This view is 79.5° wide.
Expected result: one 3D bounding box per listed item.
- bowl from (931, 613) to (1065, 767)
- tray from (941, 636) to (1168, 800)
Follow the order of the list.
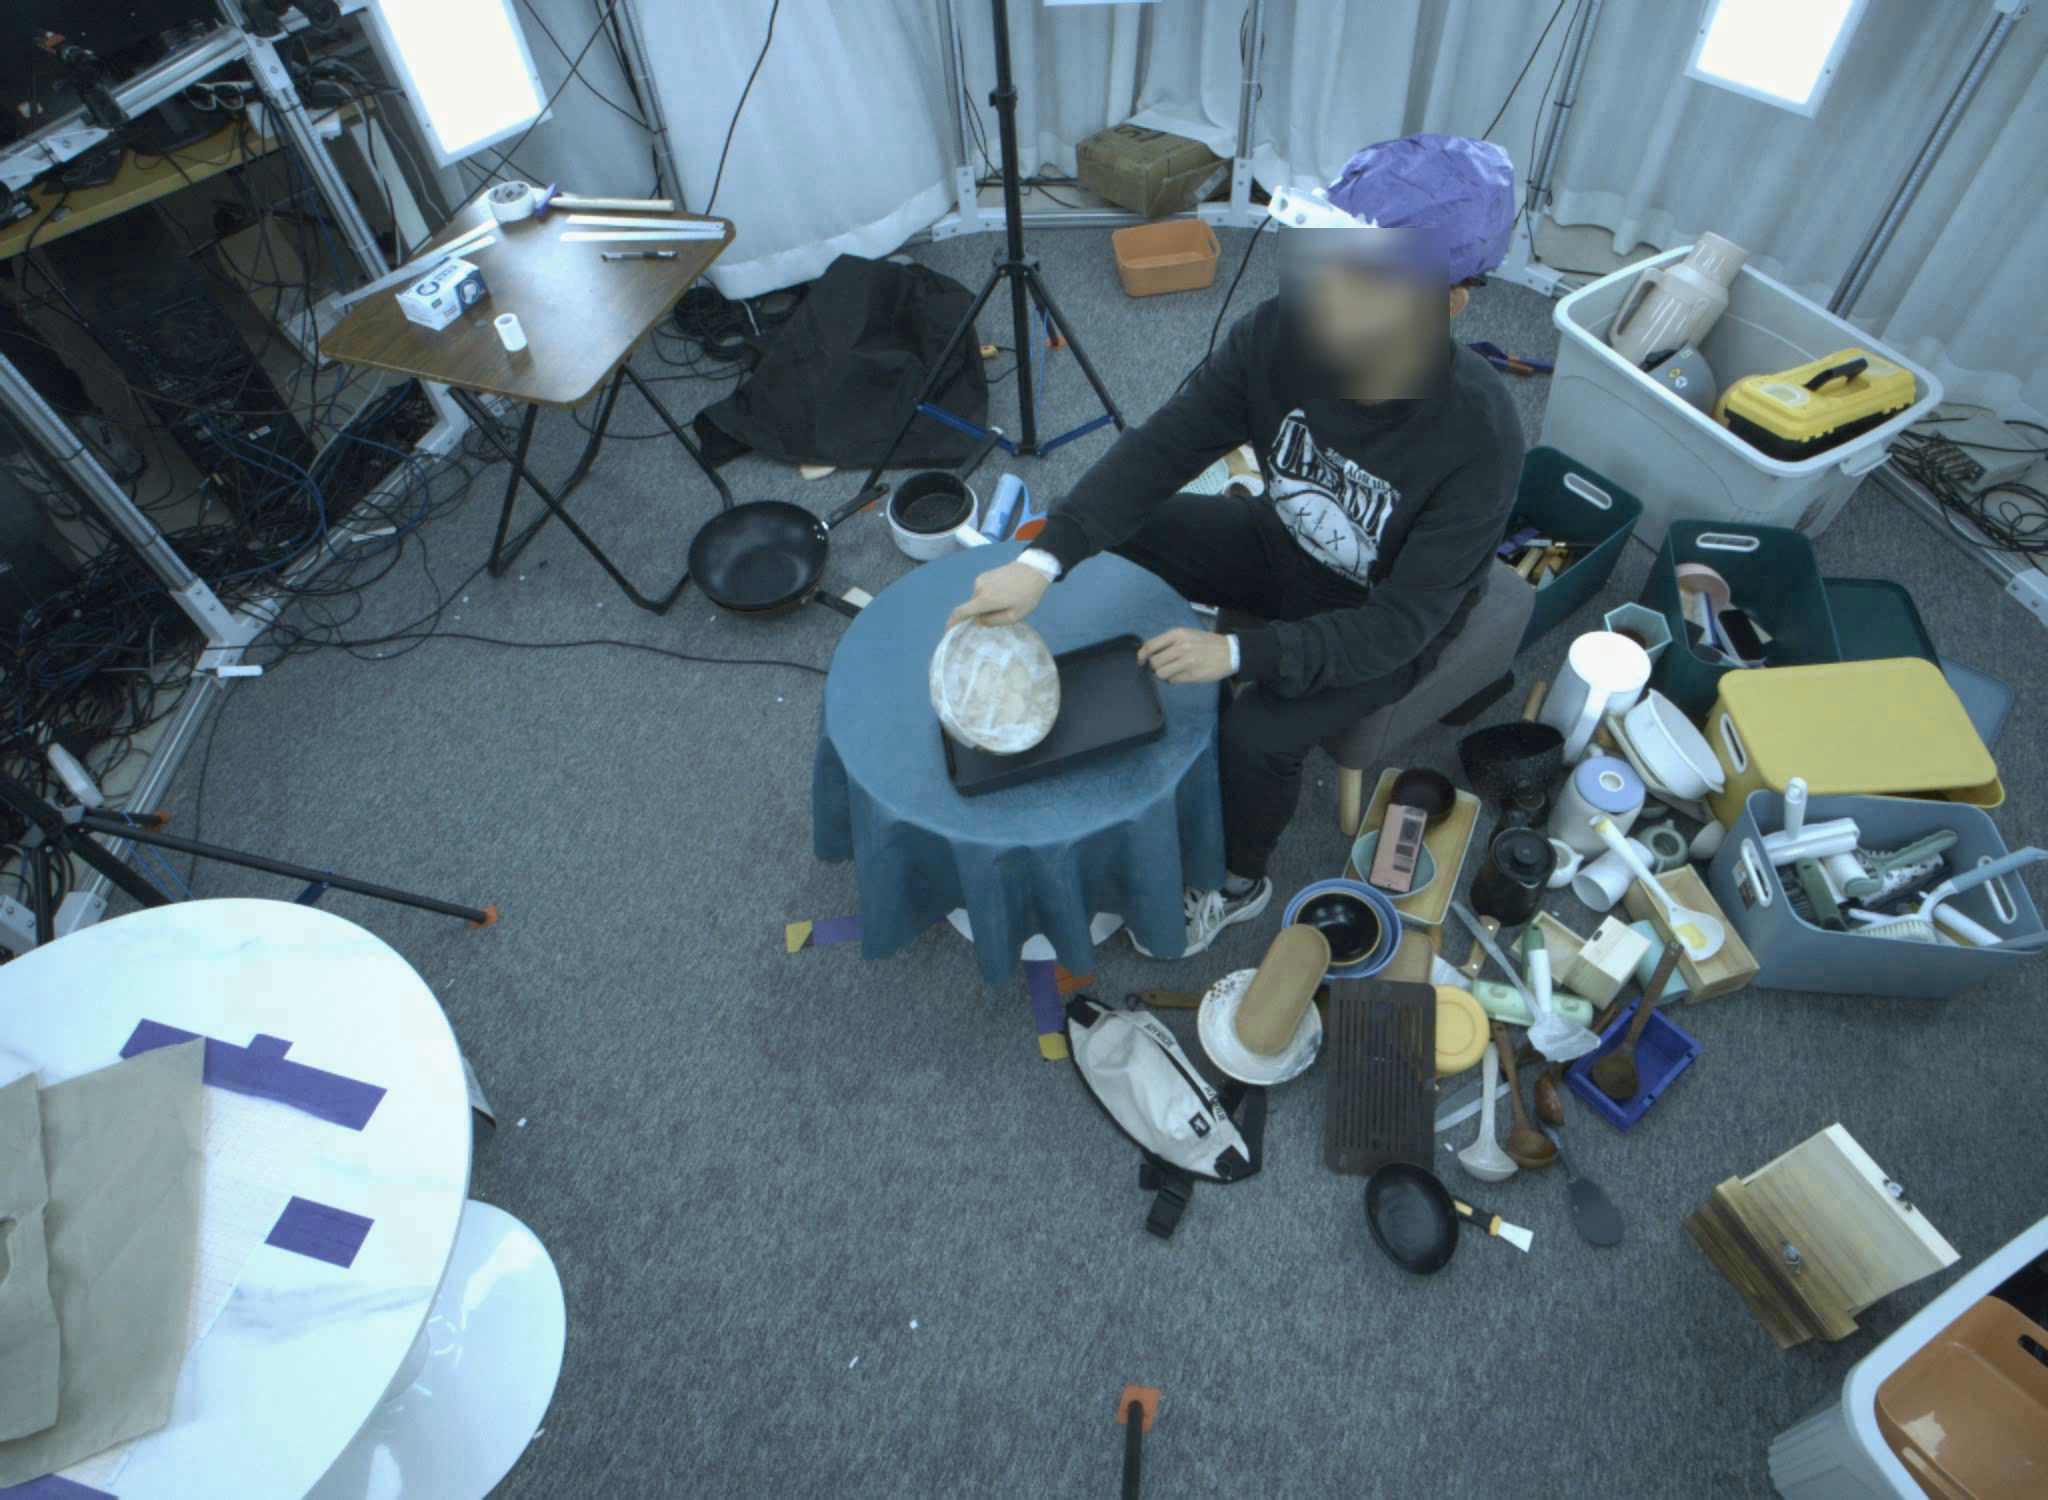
[{"bbox_3d":[-0.052,-0.080,1.726,0.093,0.218,0.215,-10,41,49],"label":"bowl"},{"bbox_3d":[0.039,-0.046,1.774,0.317,0.037,0.182,-16,56,6],"label":"tray"}]
